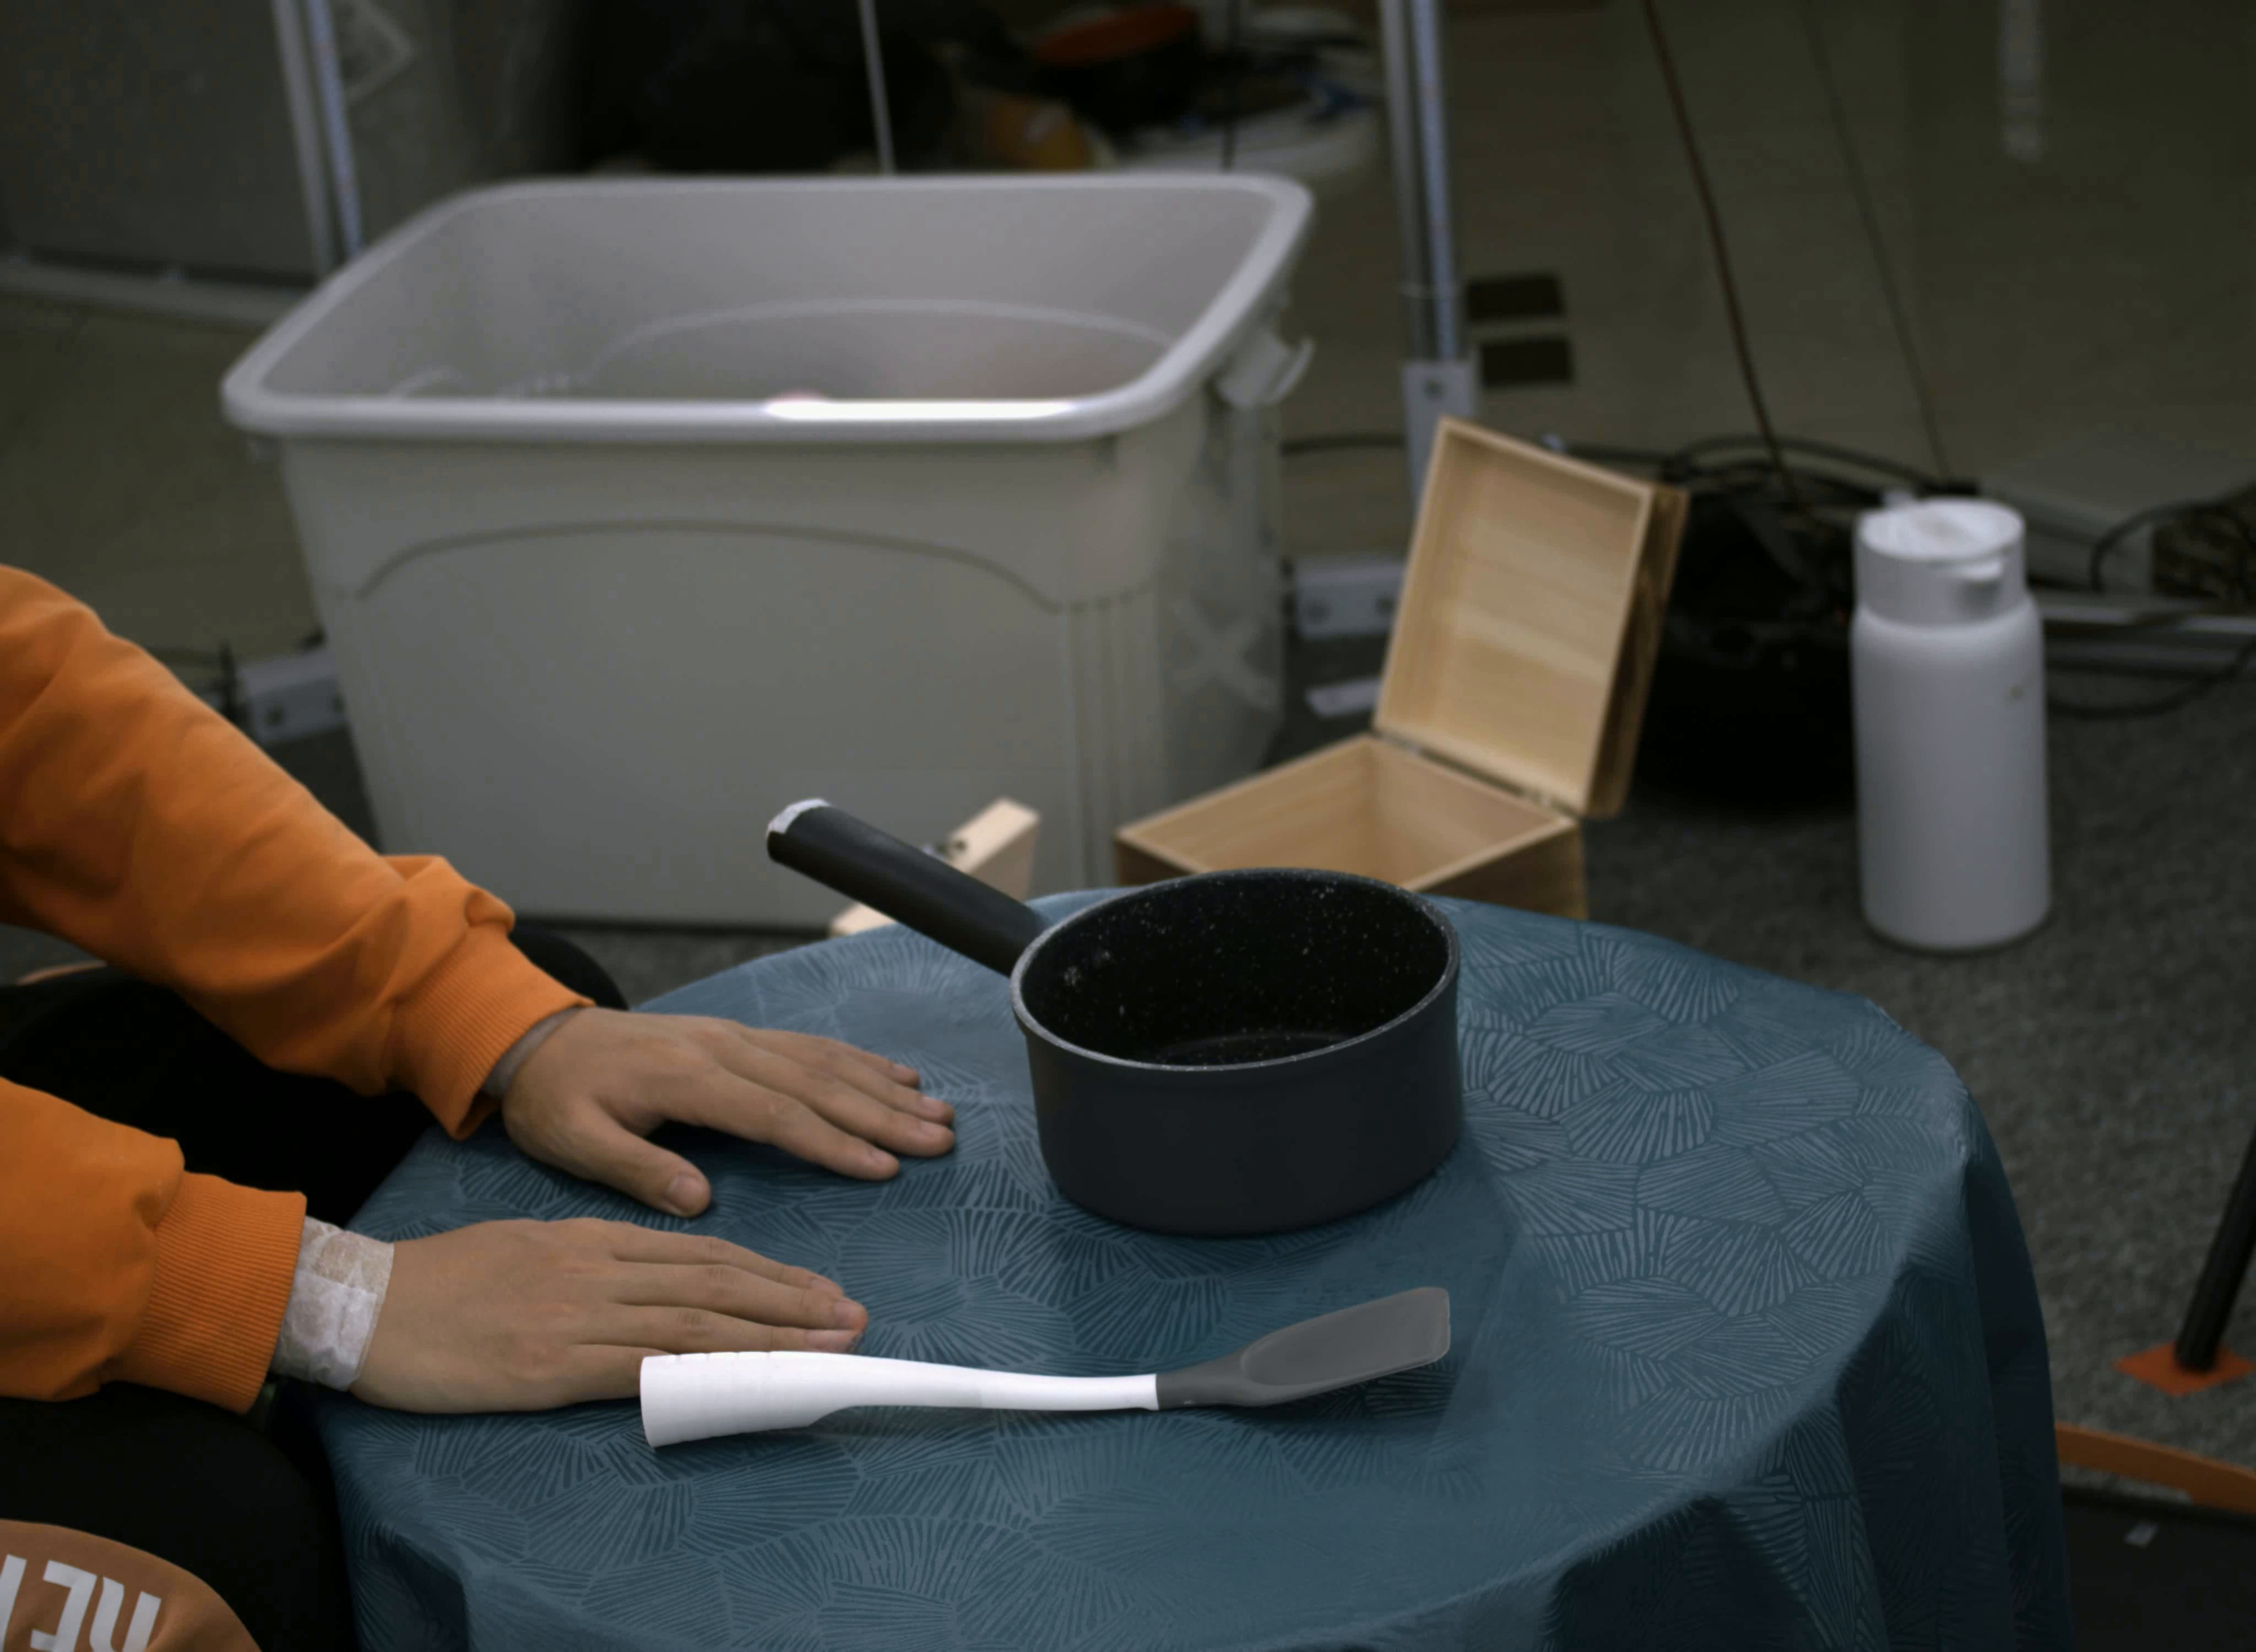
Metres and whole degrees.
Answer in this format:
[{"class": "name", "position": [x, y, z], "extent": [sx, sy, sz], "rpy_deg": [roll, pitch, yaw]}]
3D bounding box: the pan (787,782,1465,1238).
[{"class": "pan", "position": [-0.012, 0.065, 2.208], "extent": [0.326, 0.088, 0.170], "rpy_deg": [20, 35, 41]}]

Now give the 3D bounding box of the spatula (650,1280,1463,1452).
[{"class": "spatula", "position": [-0.025, 0.193, 2.000], "extent": [0.287, 0.032, 0.058], "rpy_deg": [-5, 22, 5]}]
